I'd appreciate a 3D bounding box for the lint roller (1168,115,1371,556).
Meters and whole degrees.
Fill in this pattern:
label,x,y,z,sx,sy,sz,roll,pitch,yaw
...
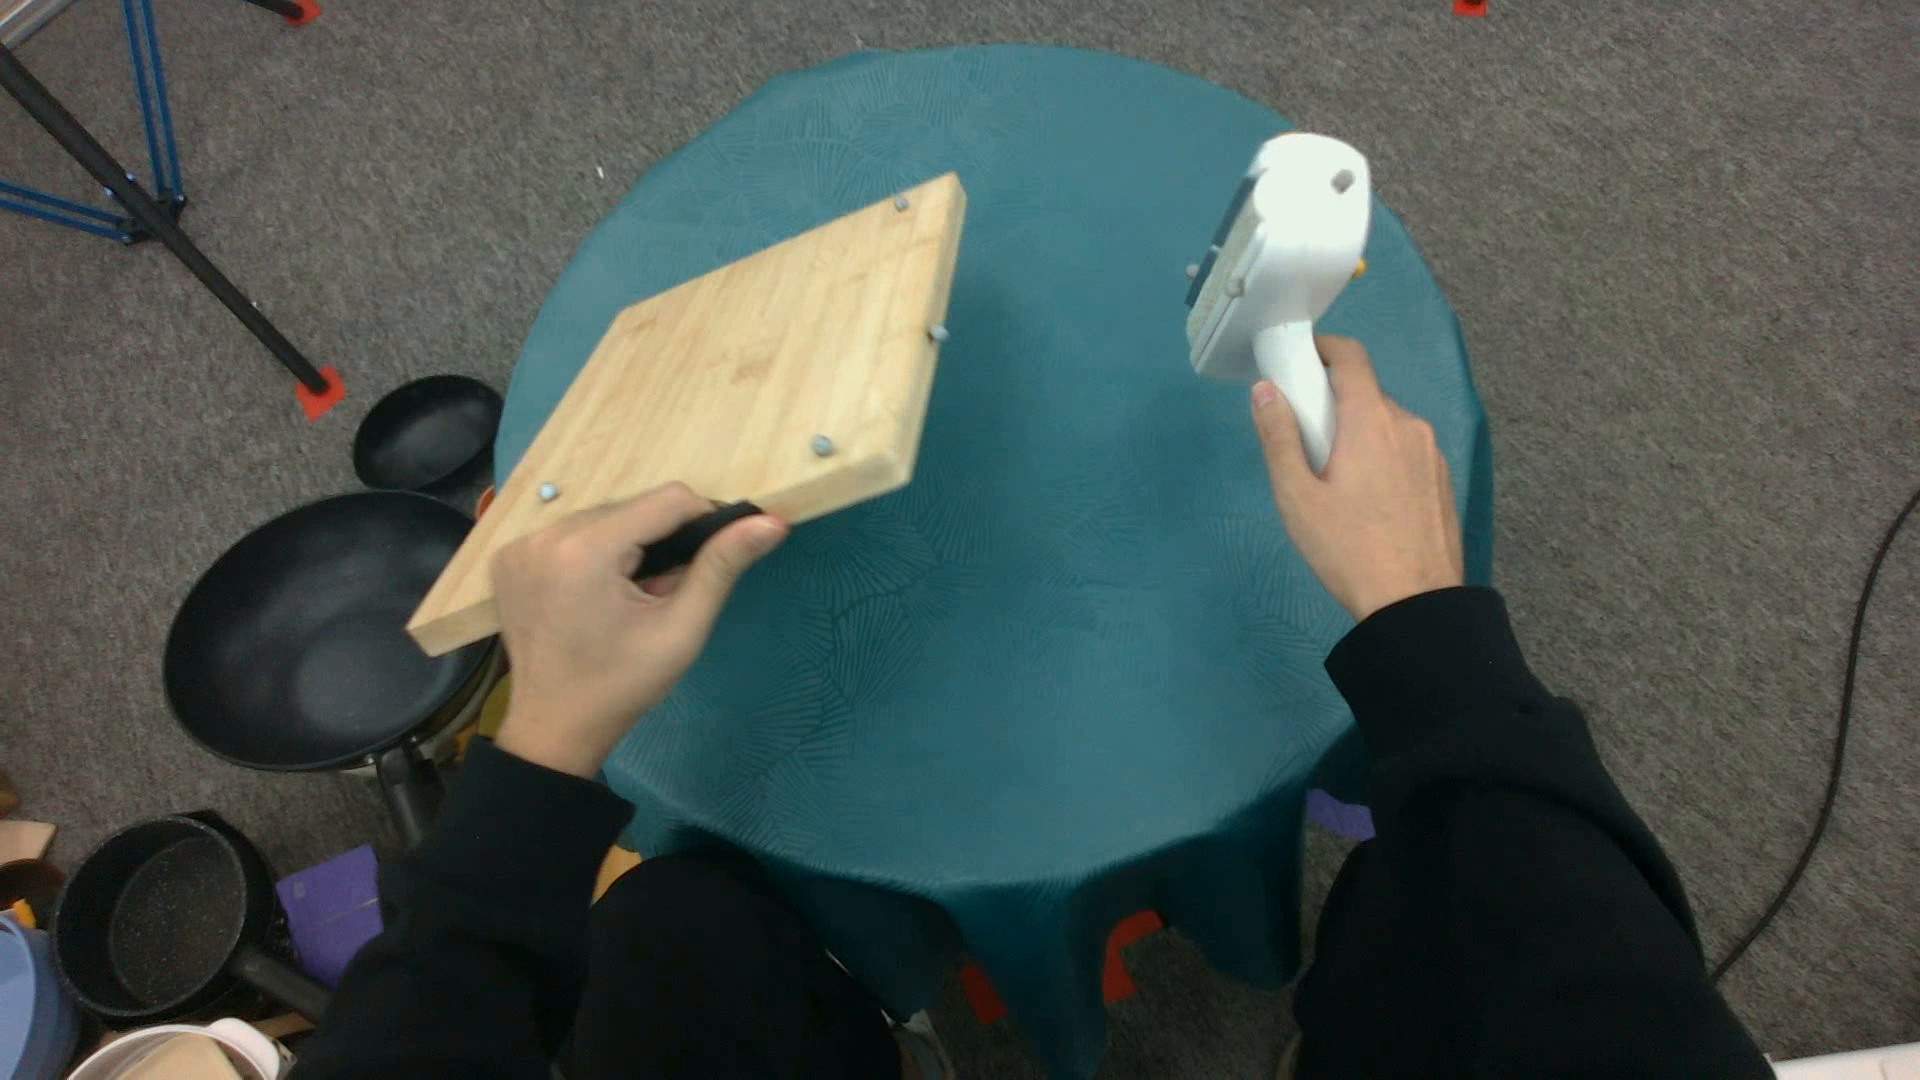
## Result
label,x,y,z,sx,sy,sz,roll,pitch,yaw
lint roller,0.153,-0.085,0.666,0.074,0.192,0.192,-7,84,-5

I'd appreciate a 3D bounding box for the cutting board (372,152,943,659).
label,x,y,z,sx,sy,sz,roll,pitch,yaw
cutting board,-0.133,-0.089,0.712,0.250,0.023,0.350,-20,30,16
